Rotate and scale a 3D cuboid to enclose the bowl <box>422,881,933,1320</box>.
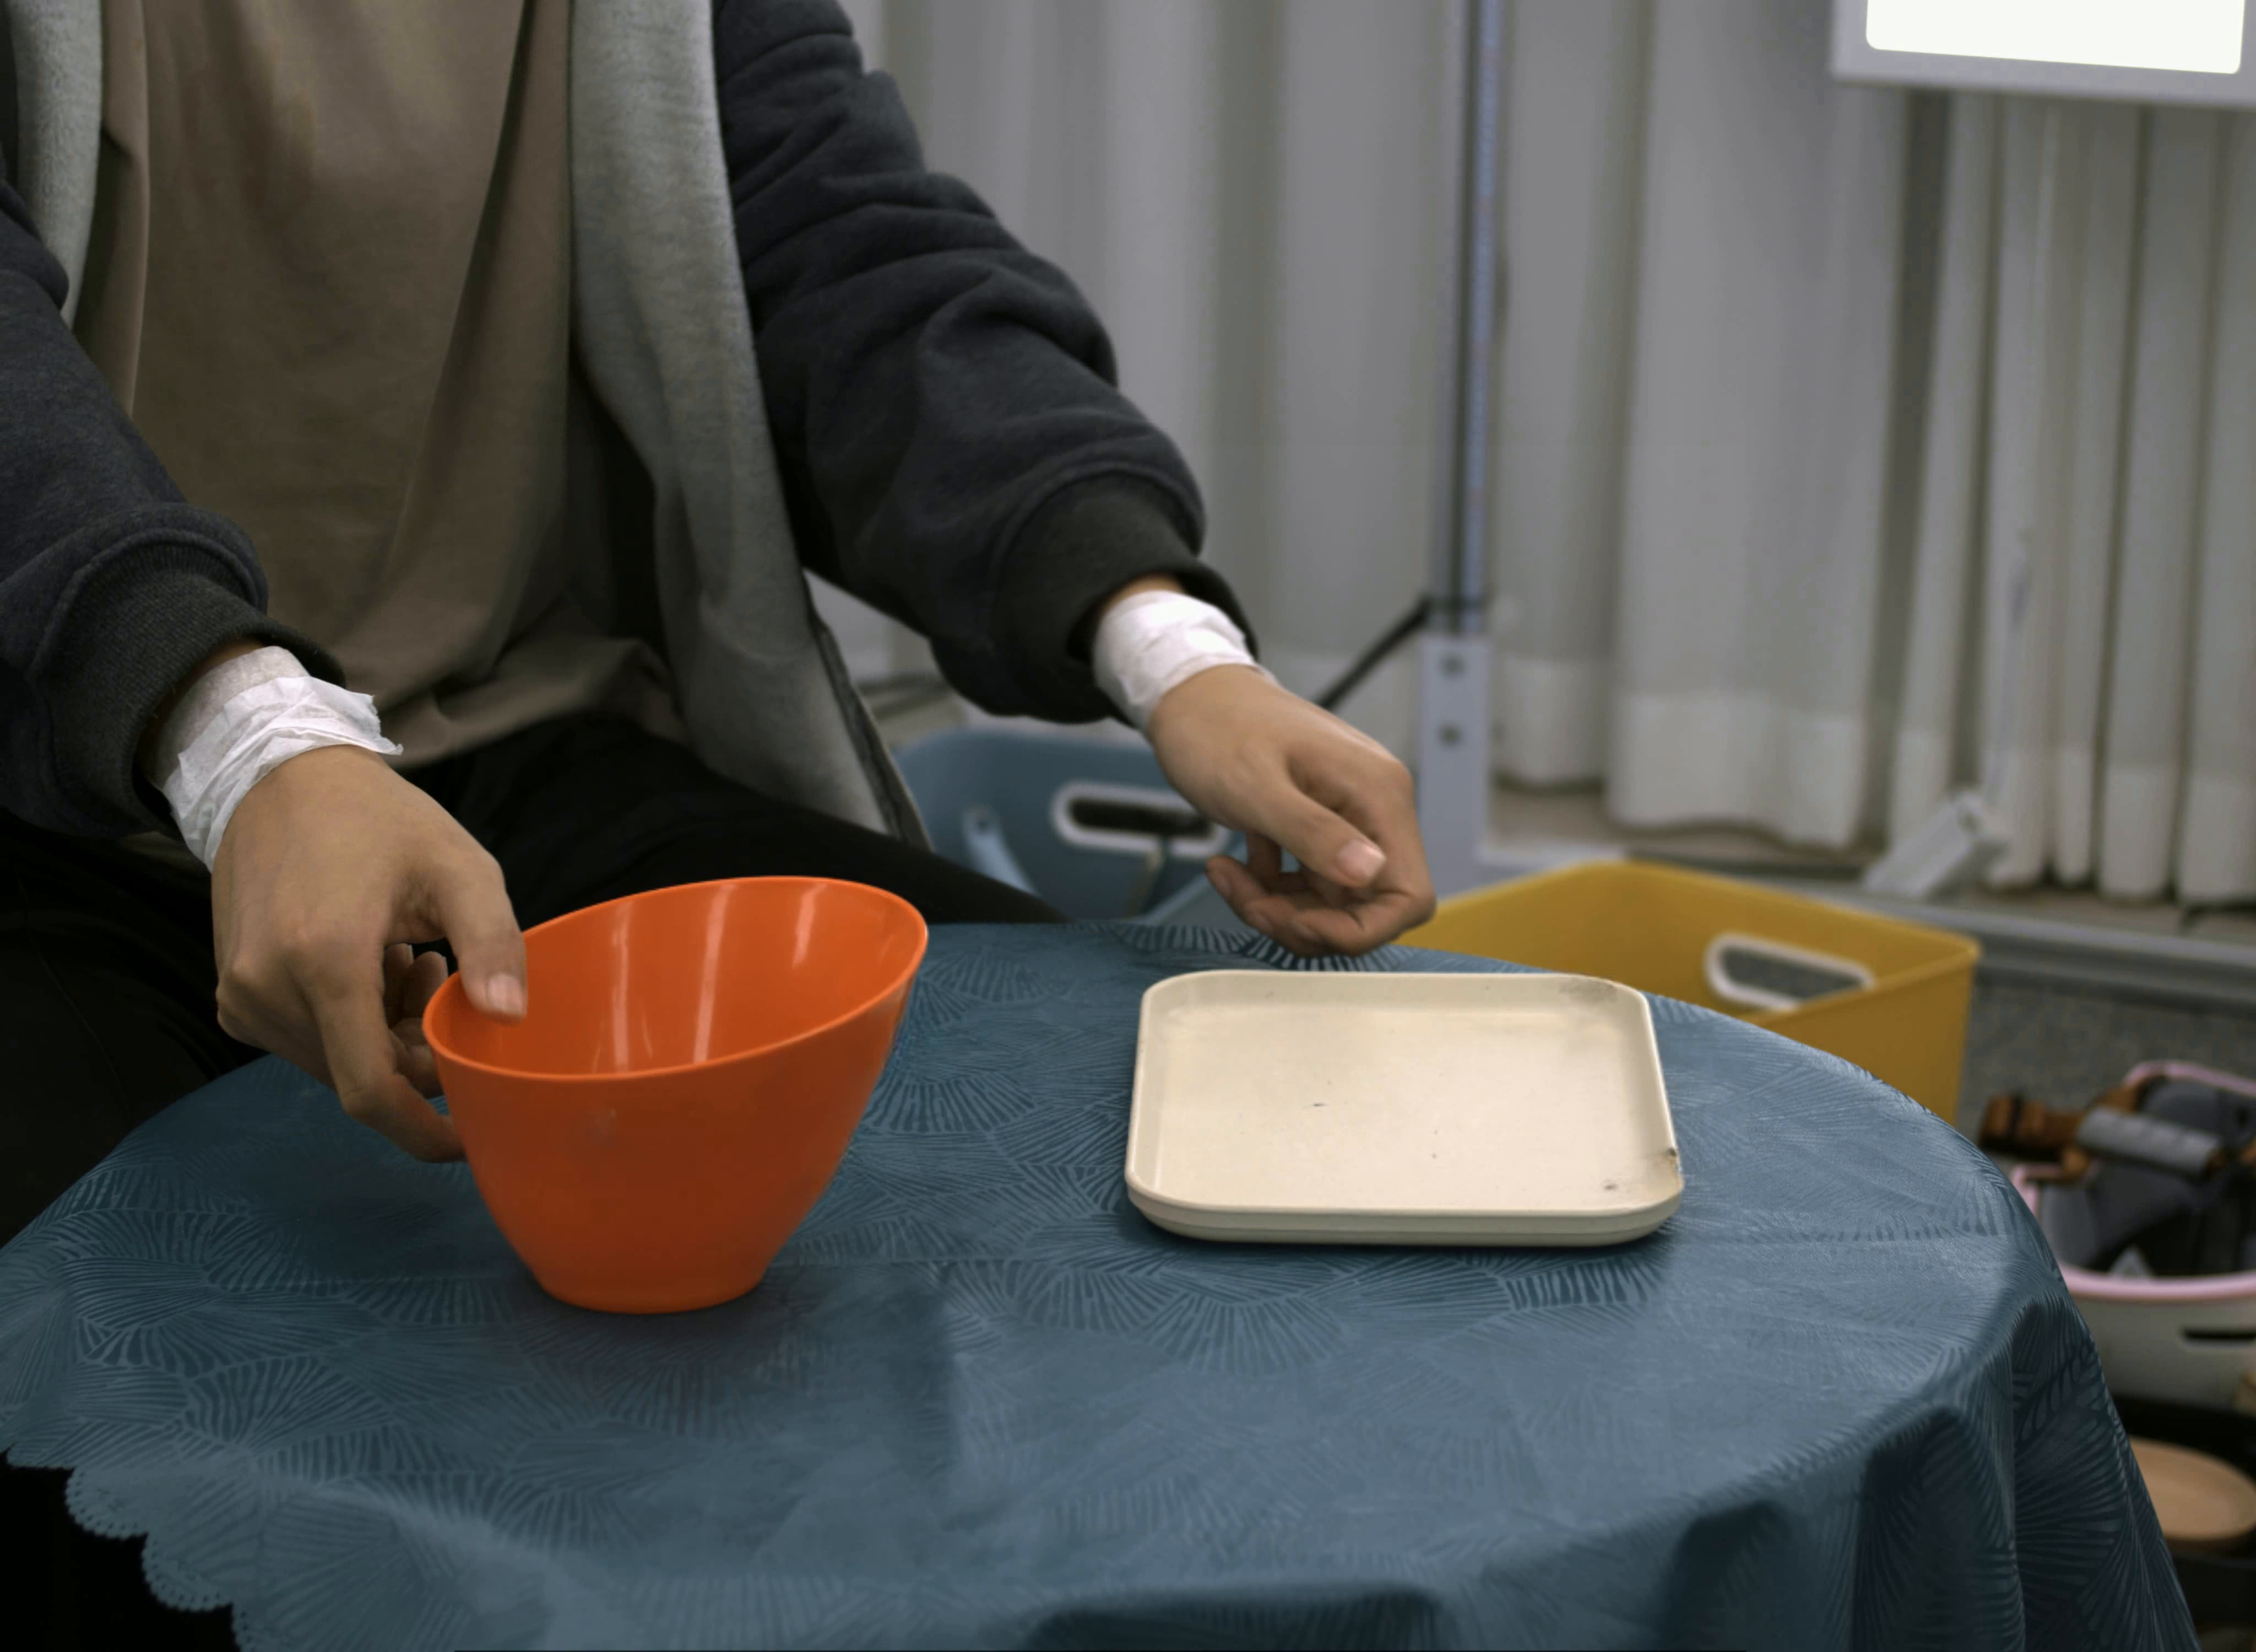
[{"bbox_3d":[-0.131,0.083,1.536,0.147,0.105,0.147,2,17,0],"label":"bowl"}]

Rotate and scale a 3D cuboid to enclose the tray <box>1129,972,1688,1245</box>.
[{"bbox_3d":[0.087,0.089,1.677,0.170,0.017,0.238,0,16,1],"label":"tray"}]
